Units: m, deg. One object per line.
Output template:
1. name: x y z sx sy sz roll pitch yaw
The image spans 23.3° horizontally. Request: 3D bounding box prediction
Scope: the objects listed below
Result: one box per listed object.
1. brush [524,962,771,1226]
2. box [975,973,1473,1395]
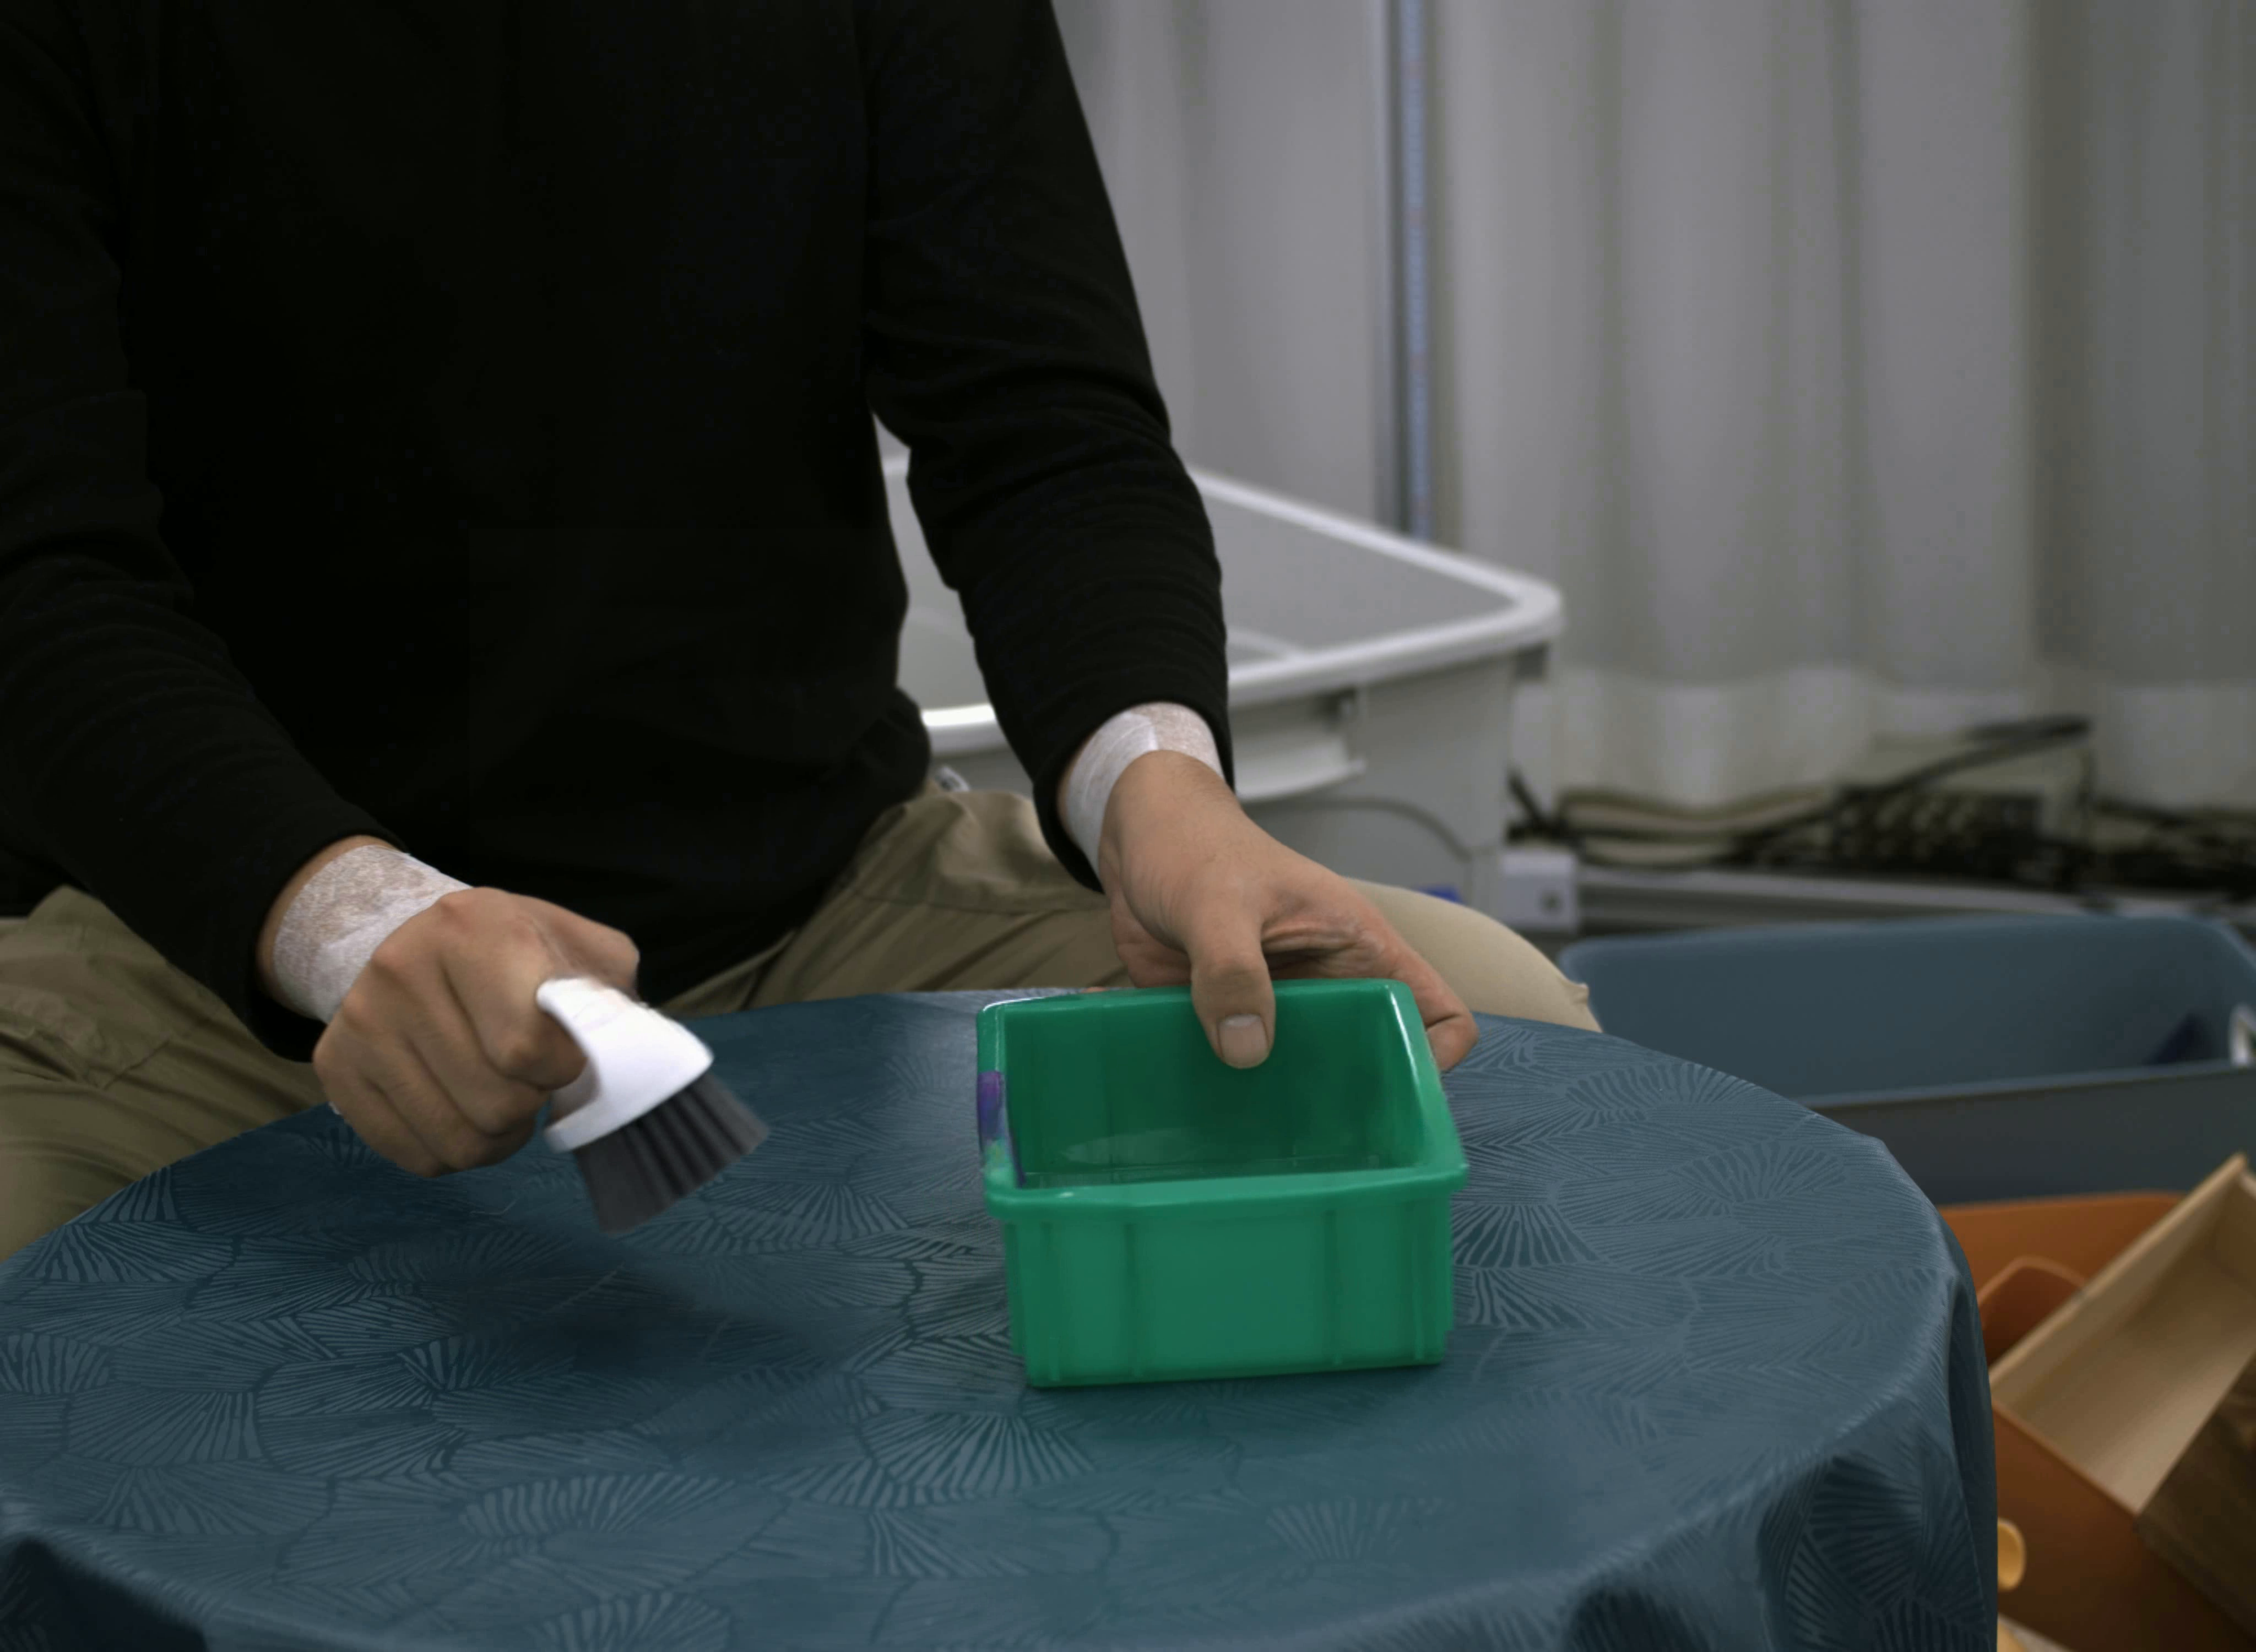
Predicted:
1. brush: -0.147 0.073 1.590 0.050 0.072 0.099 -36 3 -13
2. box: 0.026 0.105 1.623 0.138 0.065 0.212 -5 16 -2
